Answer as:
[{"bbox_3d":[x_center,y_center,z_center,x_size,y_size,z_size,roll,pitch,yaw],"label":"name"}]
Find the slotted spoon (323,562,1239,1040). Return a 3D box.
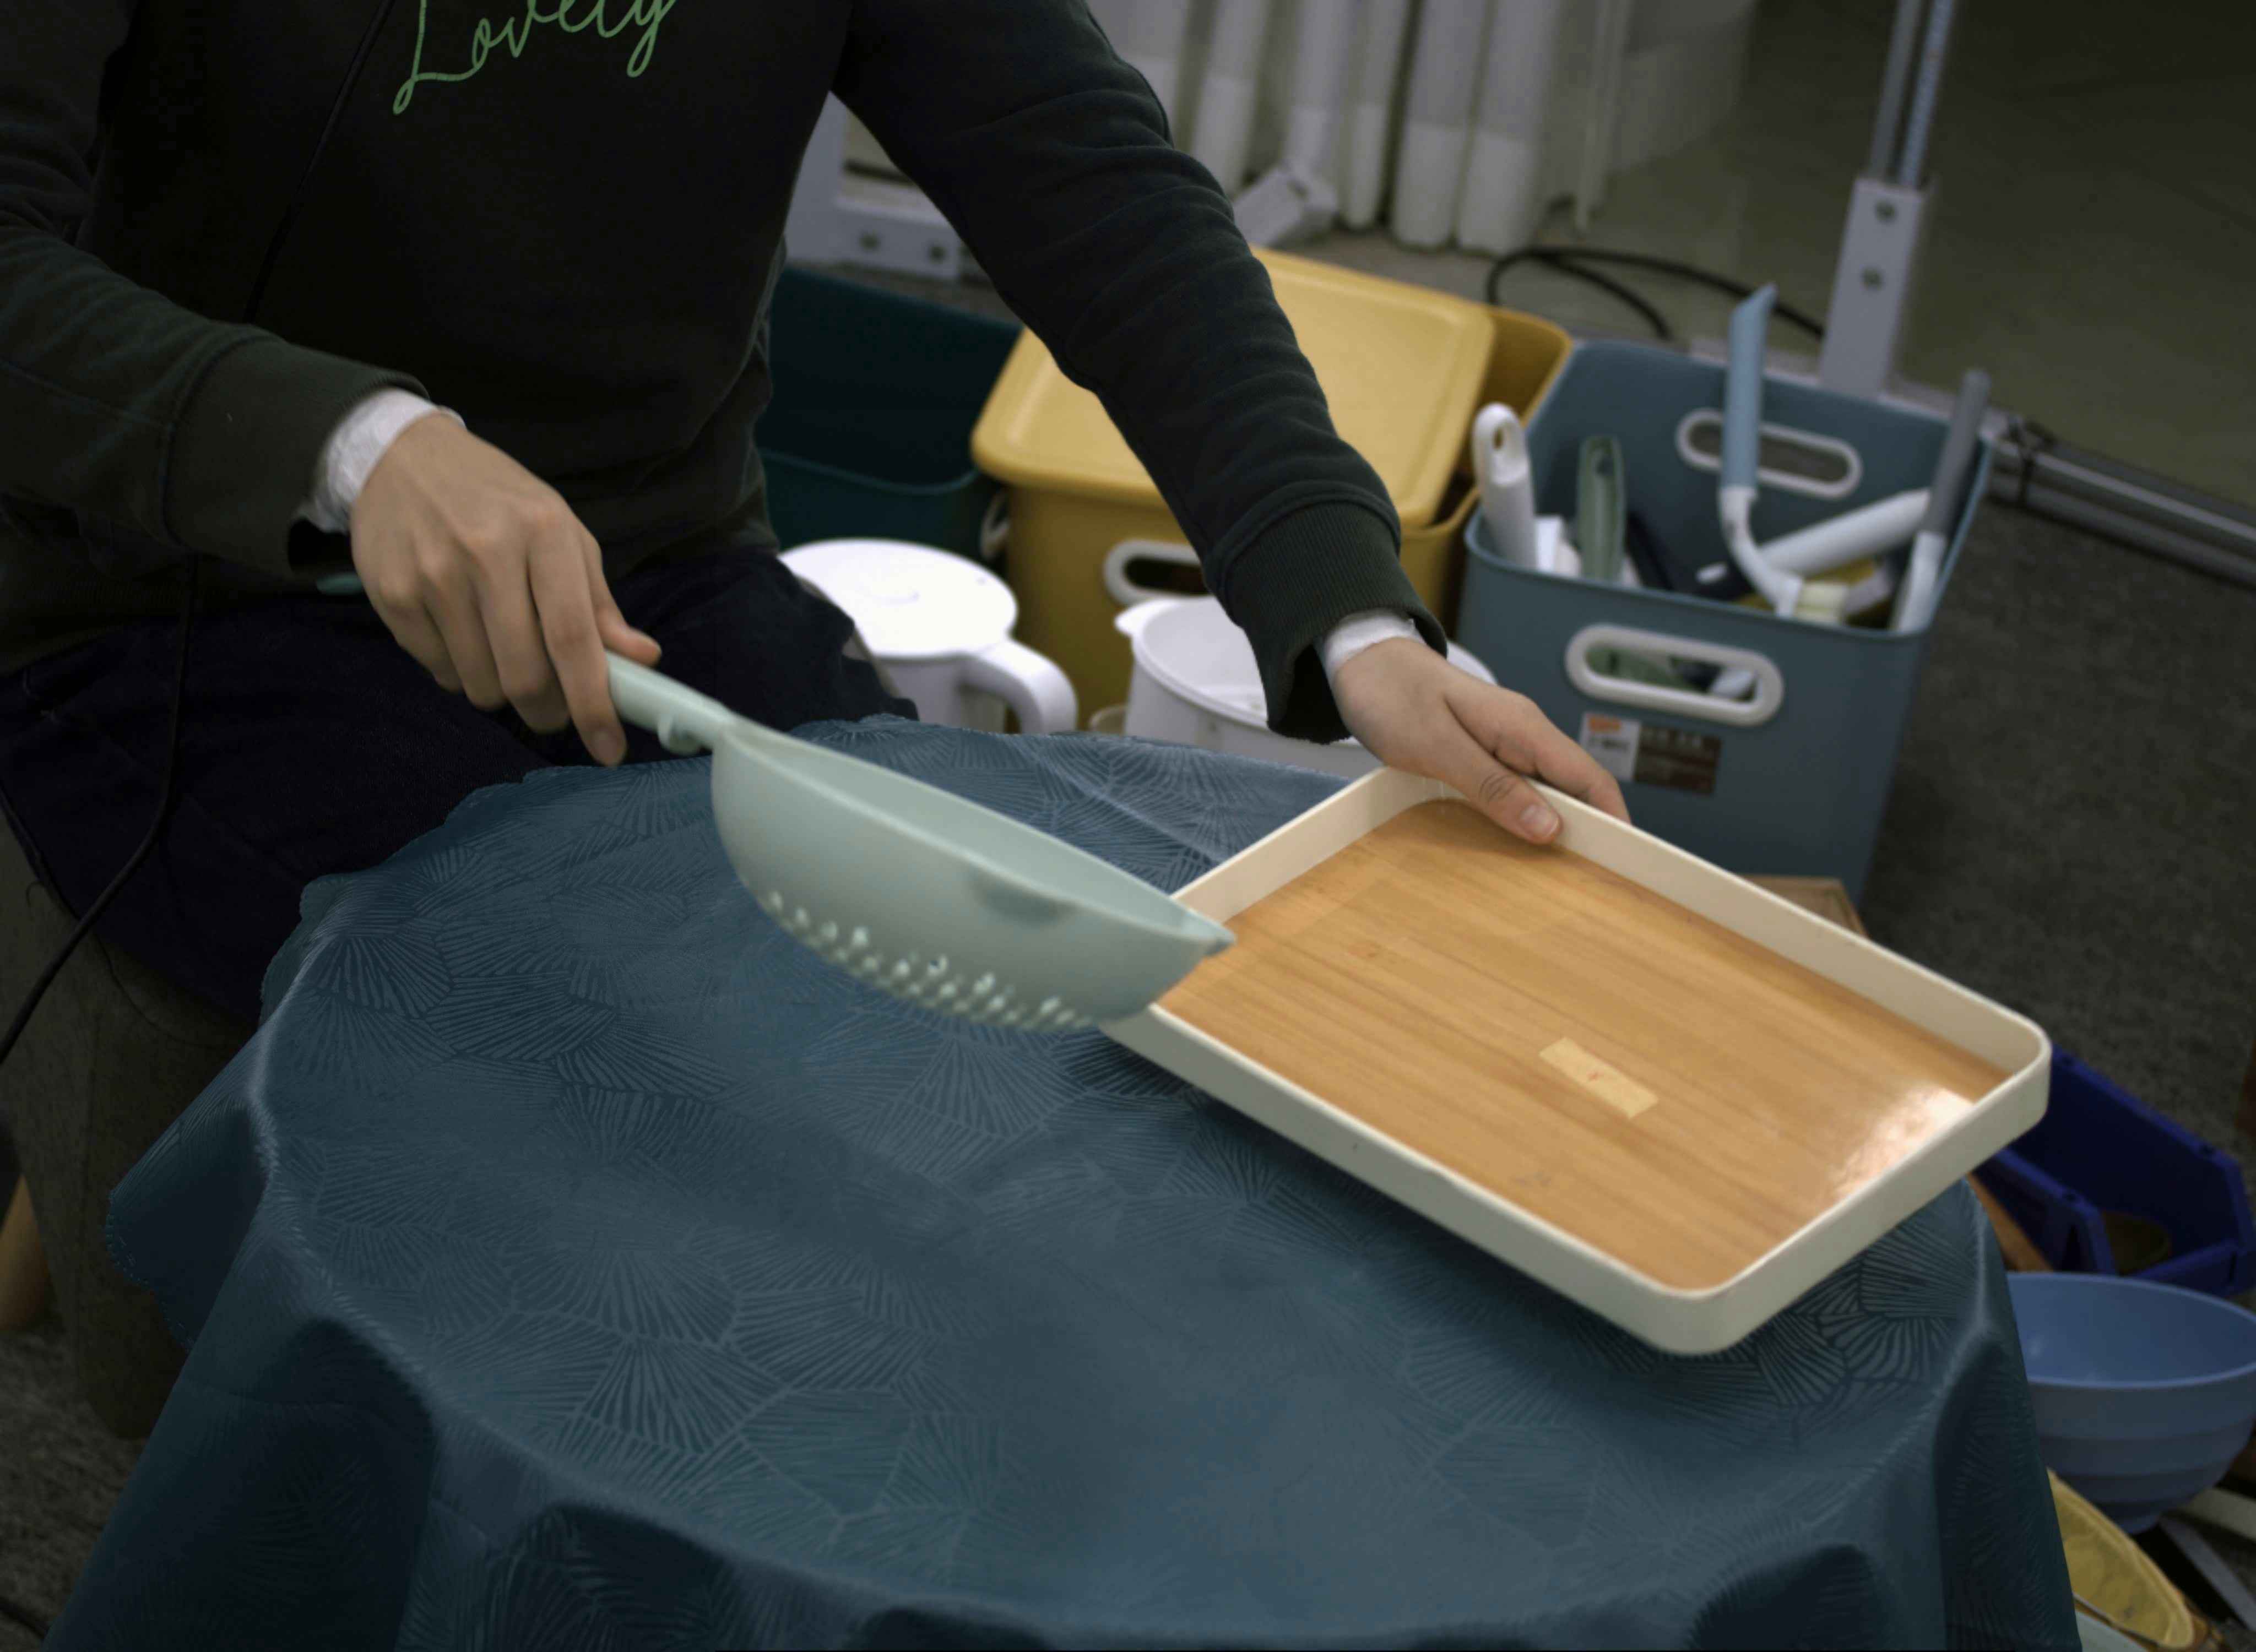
[{"bbox_3d":[-0.129,-0.022,1.719,0.361,0.075,0.168,35,9,31],"label":"slotted spoon"}]

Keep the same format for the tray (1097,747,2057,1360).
[{"bbox_3d":[0.149,0.072,1.830,0.191,0.027,0.302,-30,41,-31],"label":"tray"}]
